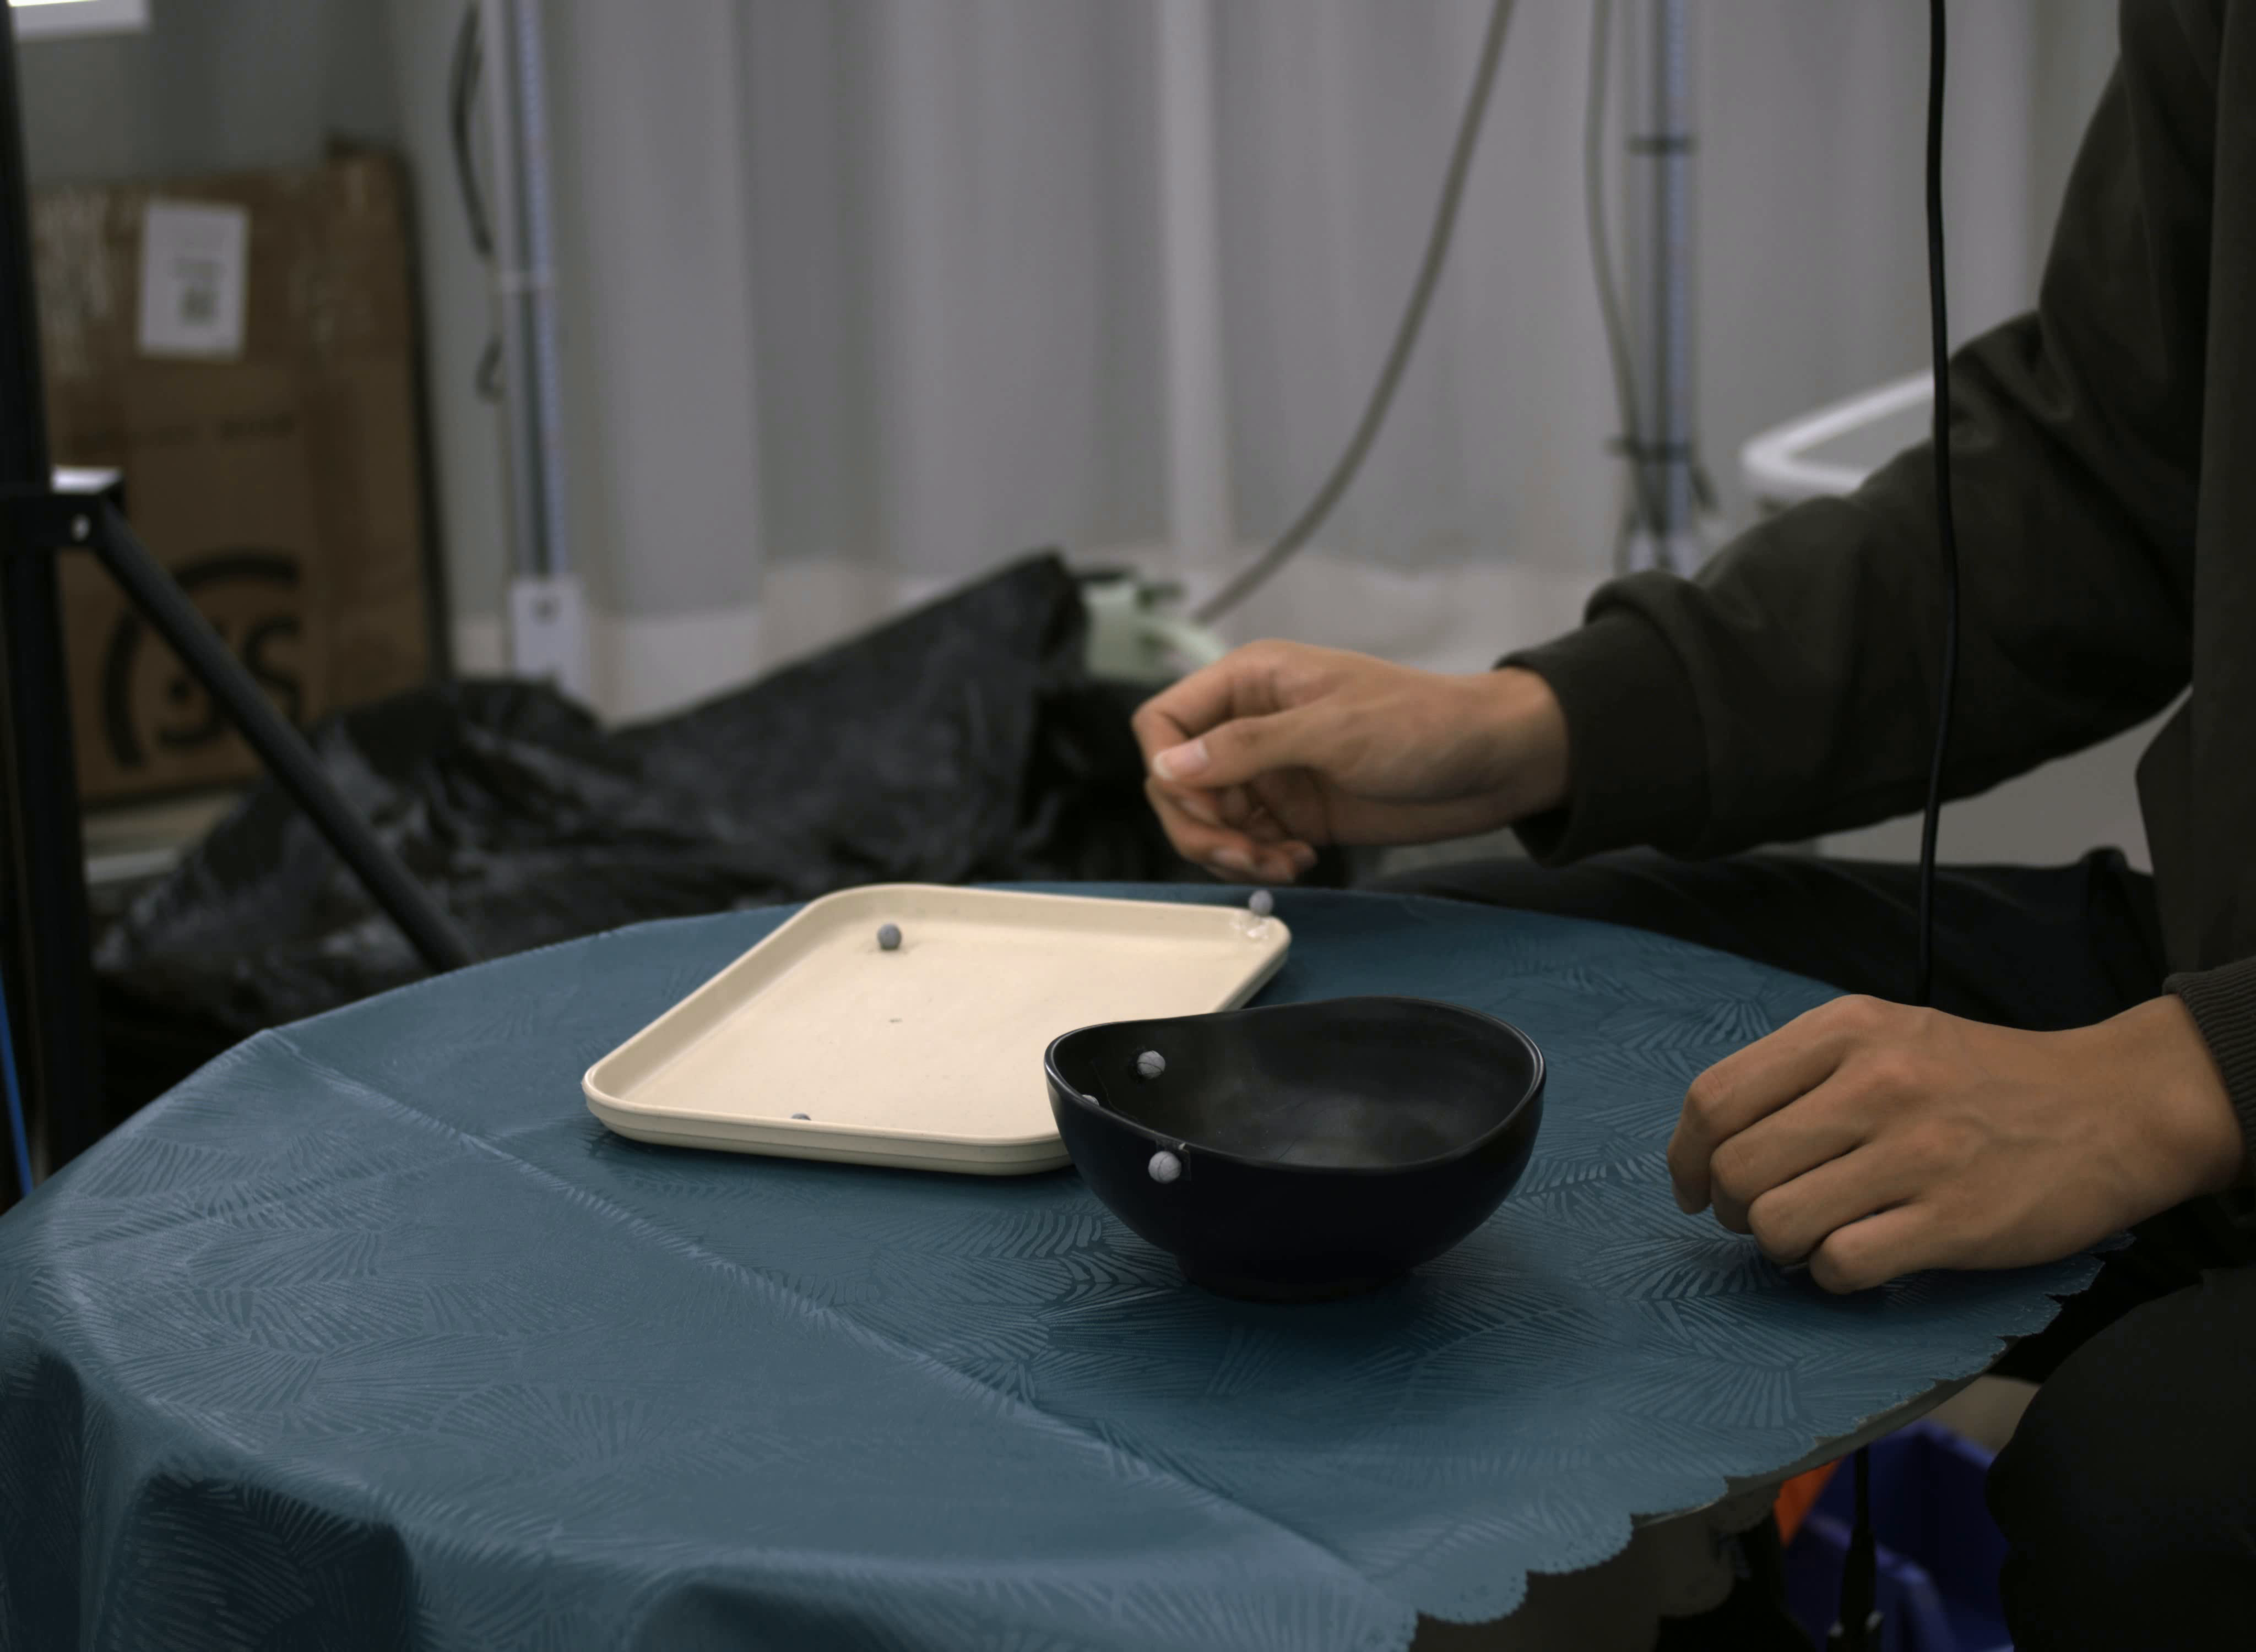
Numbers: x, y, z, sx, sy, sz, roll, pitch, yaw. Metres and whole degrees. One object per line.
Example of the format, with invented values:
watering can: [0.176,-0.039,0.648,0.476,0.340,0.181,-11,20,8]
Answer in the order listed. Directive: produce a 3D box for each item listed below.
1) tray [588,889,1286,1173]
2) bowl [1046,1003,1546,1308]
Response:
tray: [-0.056,0.064,1.692,0.173,0.017,0.237,3,17,20]
bowl: [0.046,0.095,1.488,0.135,0.067,0.173,-5,14,-16]
